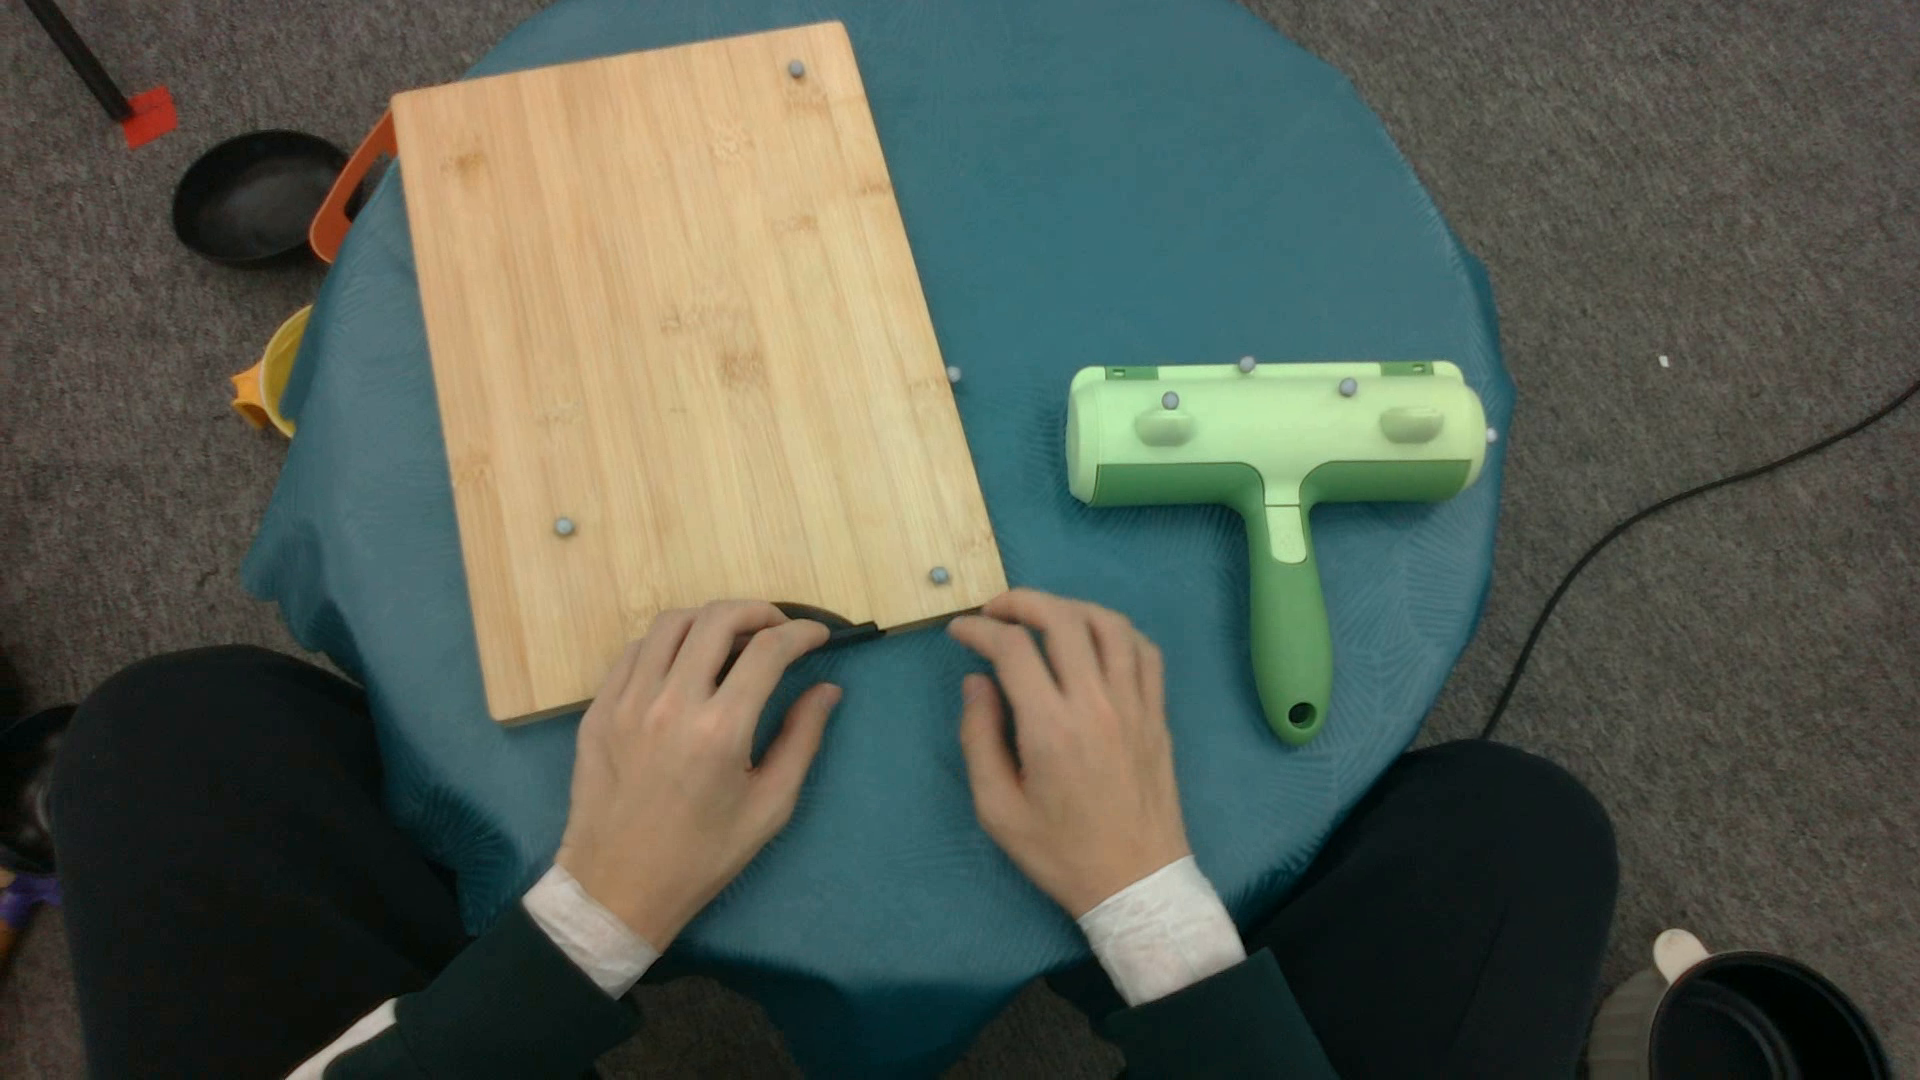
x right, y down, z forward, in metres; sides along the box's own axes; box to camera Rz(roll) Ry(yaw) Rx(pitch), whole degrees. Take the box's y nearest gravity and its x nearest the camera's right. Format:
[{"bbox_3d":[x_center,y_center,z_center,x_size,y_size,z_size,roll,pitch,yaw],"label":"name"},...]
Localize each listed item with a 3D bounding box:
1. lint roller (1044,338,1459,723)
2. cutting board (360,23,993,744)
[{"bbox_3d":[0.145,-0.012,0.643,0.199,0.082,0.184,-2,66,-5],"label":"lint roller"},{"bbox_3d":[-0.147,-0.097,0.683,0.251,0.023,0.349,-15,72,-9],"label":"cutting board"}]
